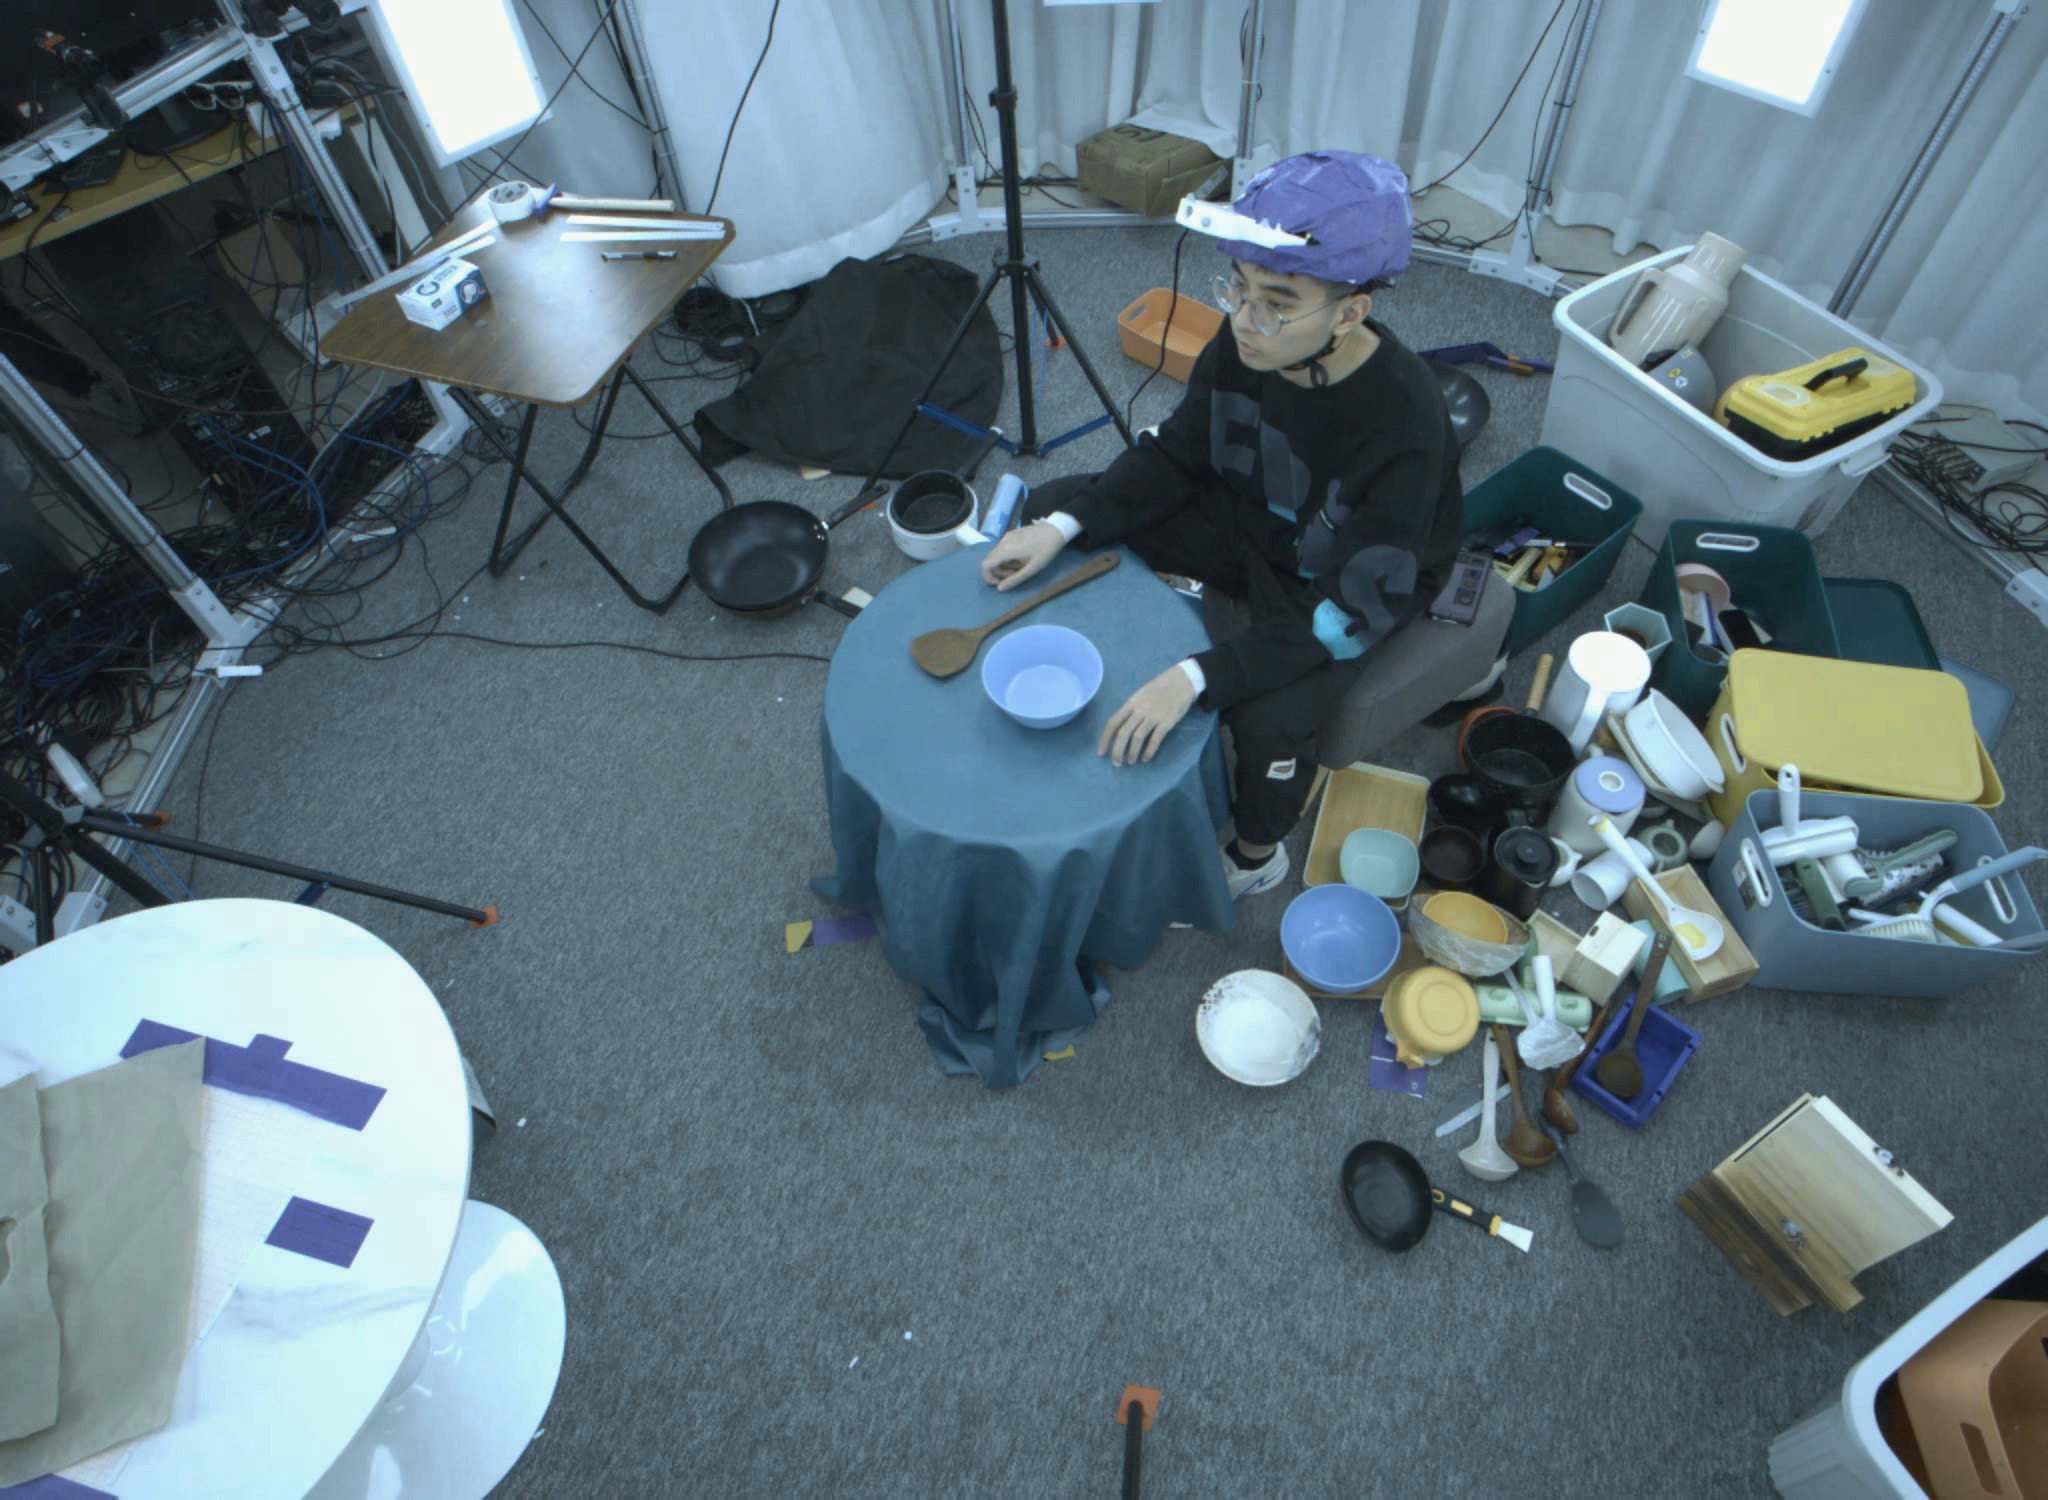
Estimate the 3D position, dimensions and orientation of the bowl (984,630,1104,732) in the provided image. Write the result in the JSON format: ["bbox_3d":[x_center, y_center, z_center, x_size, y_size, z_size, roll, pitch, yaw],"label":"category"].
[{"bbox_3d":[0.030,-0.092,1.819,0.176,0.071,0.174,0,54,1],"label":"bowl"}]

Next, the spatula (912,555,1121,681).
[{"bbox_3d":[-0.001,-0.221,1.945,0.389,0.016,0.094,-31,60,-19],"label":"spatula"}]
